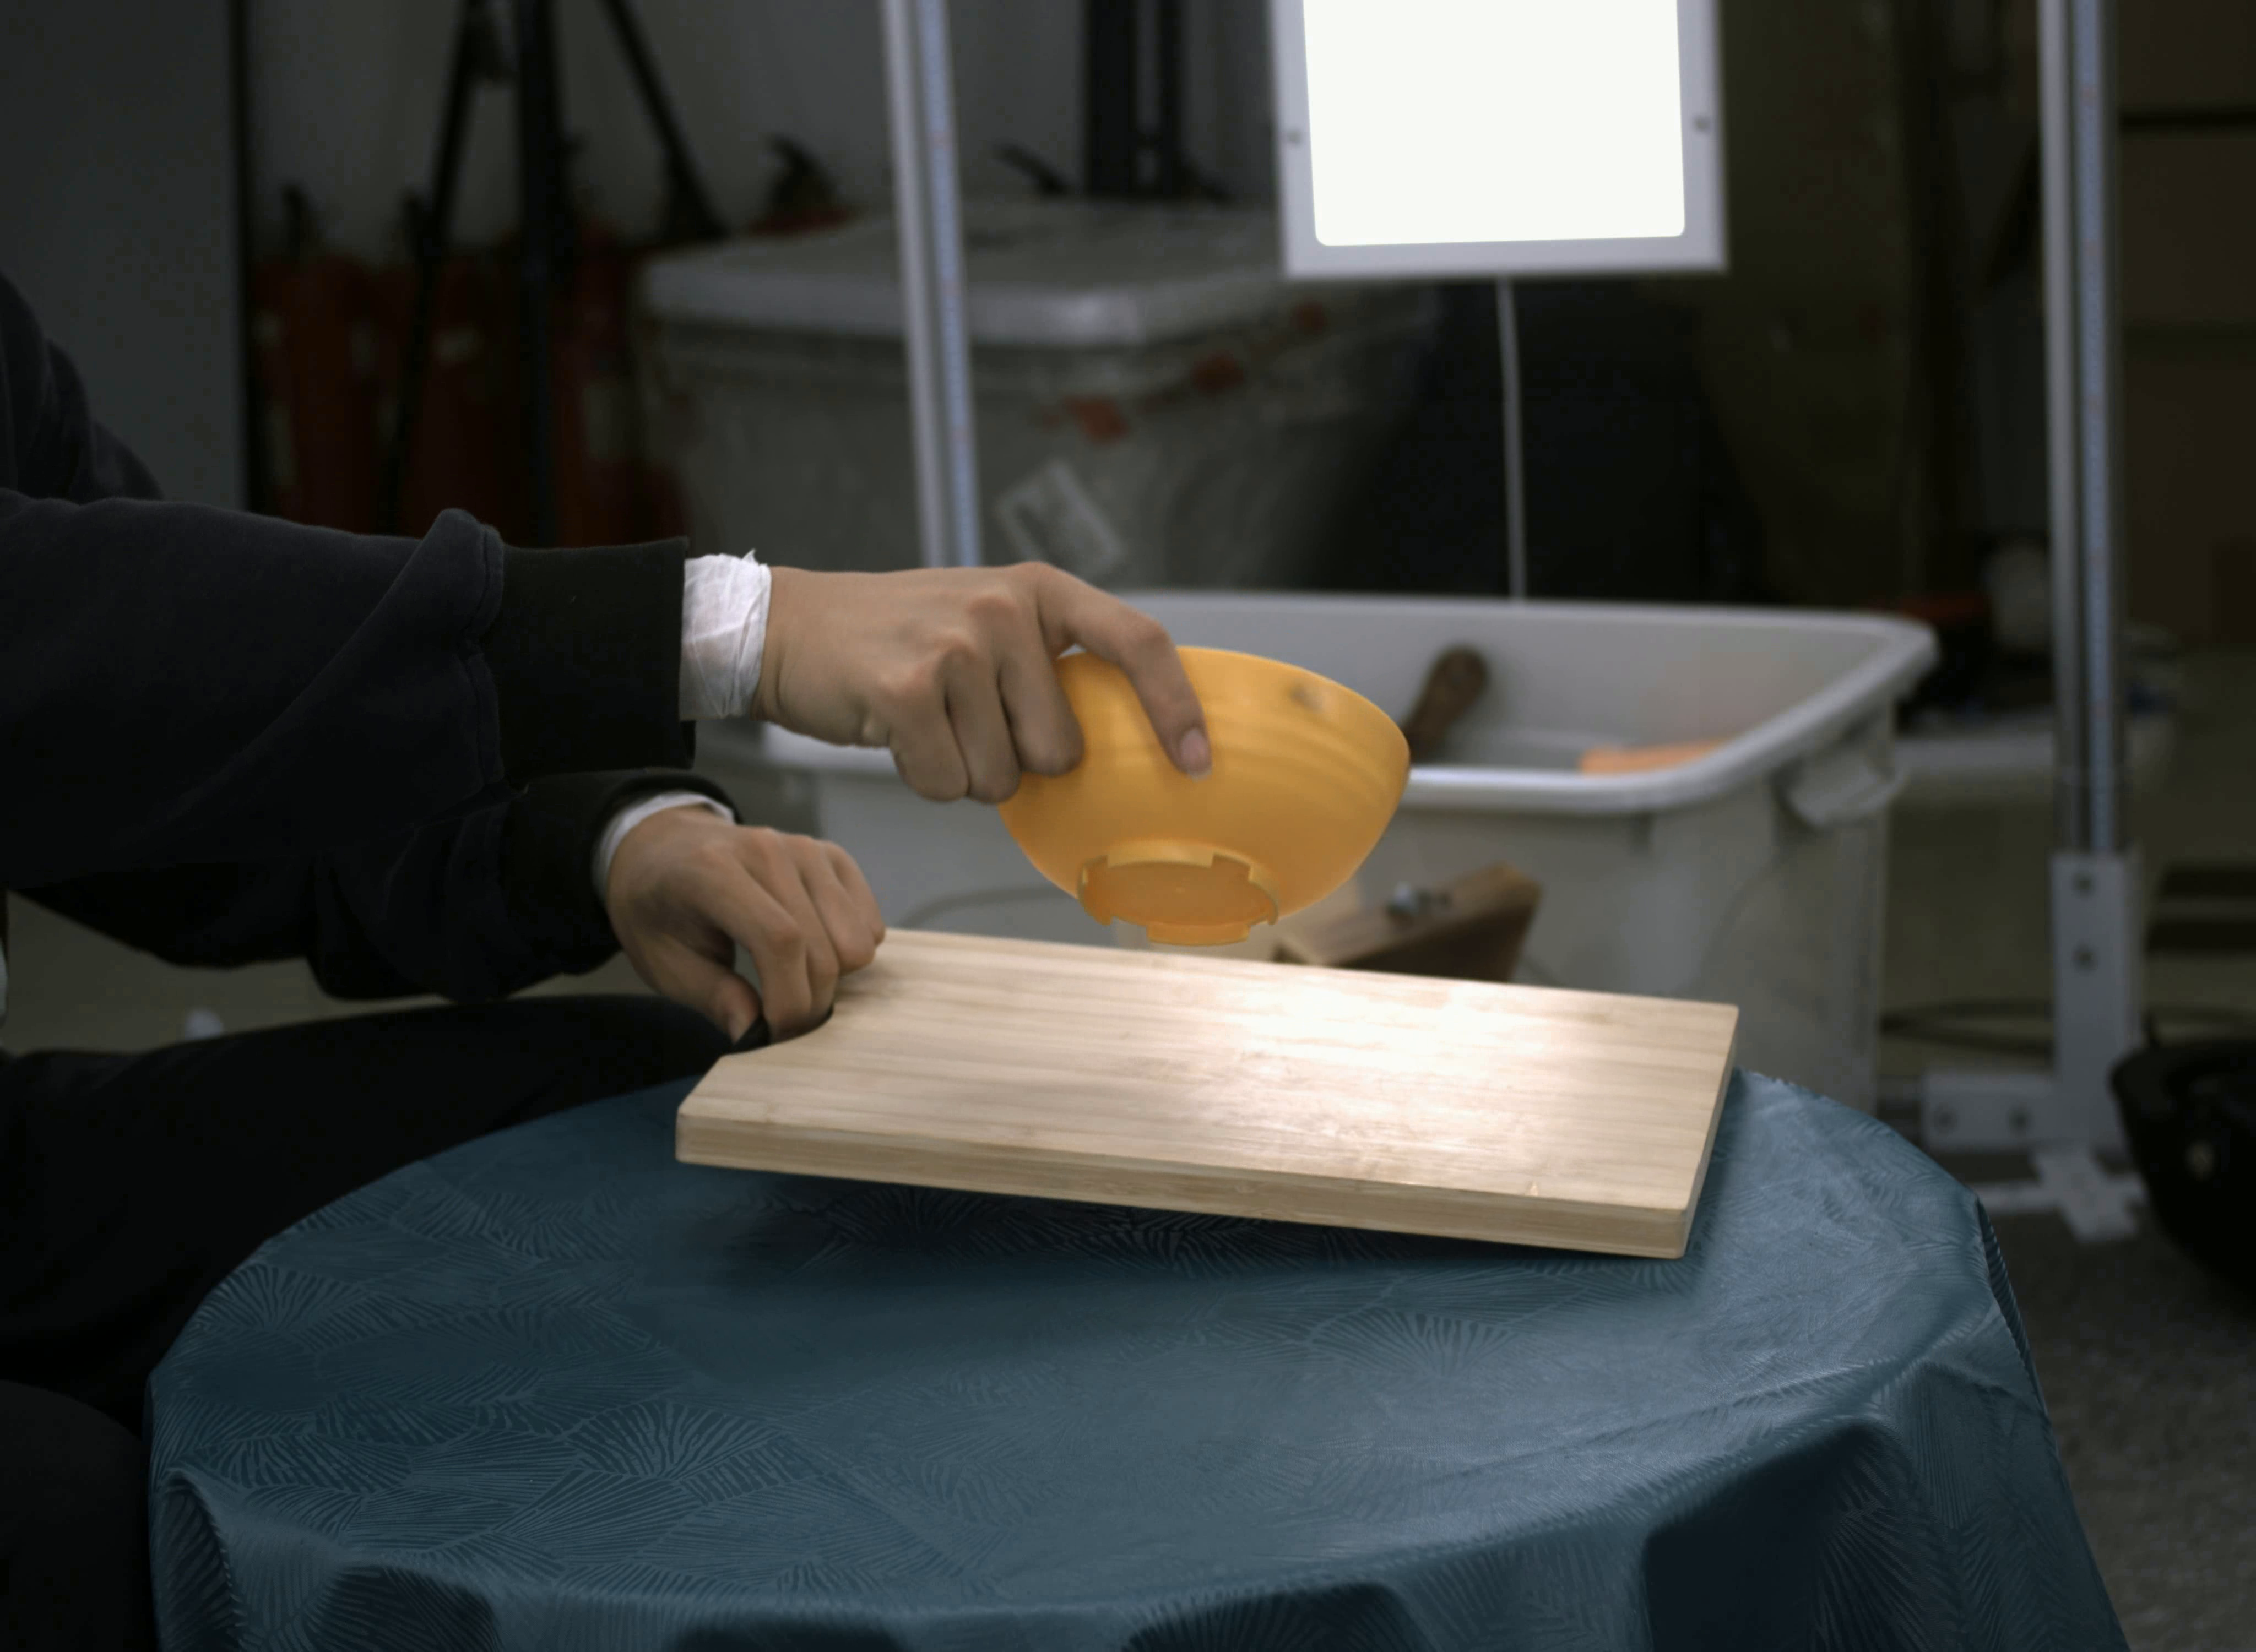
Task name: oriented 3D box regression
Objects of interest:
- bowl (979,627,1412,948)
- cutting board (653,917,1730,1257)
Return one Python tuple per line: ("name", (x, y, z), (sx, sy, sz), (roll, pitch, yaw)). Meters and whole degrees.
("bowl", (0.020, -0.002, 1.798), (0.145, 0.060, 0.146), (6, -30, 2))
("cutting board", (0.030, 0.088, 1.923), (0.350, 0.024, 0.248), (5, 15, 10))
